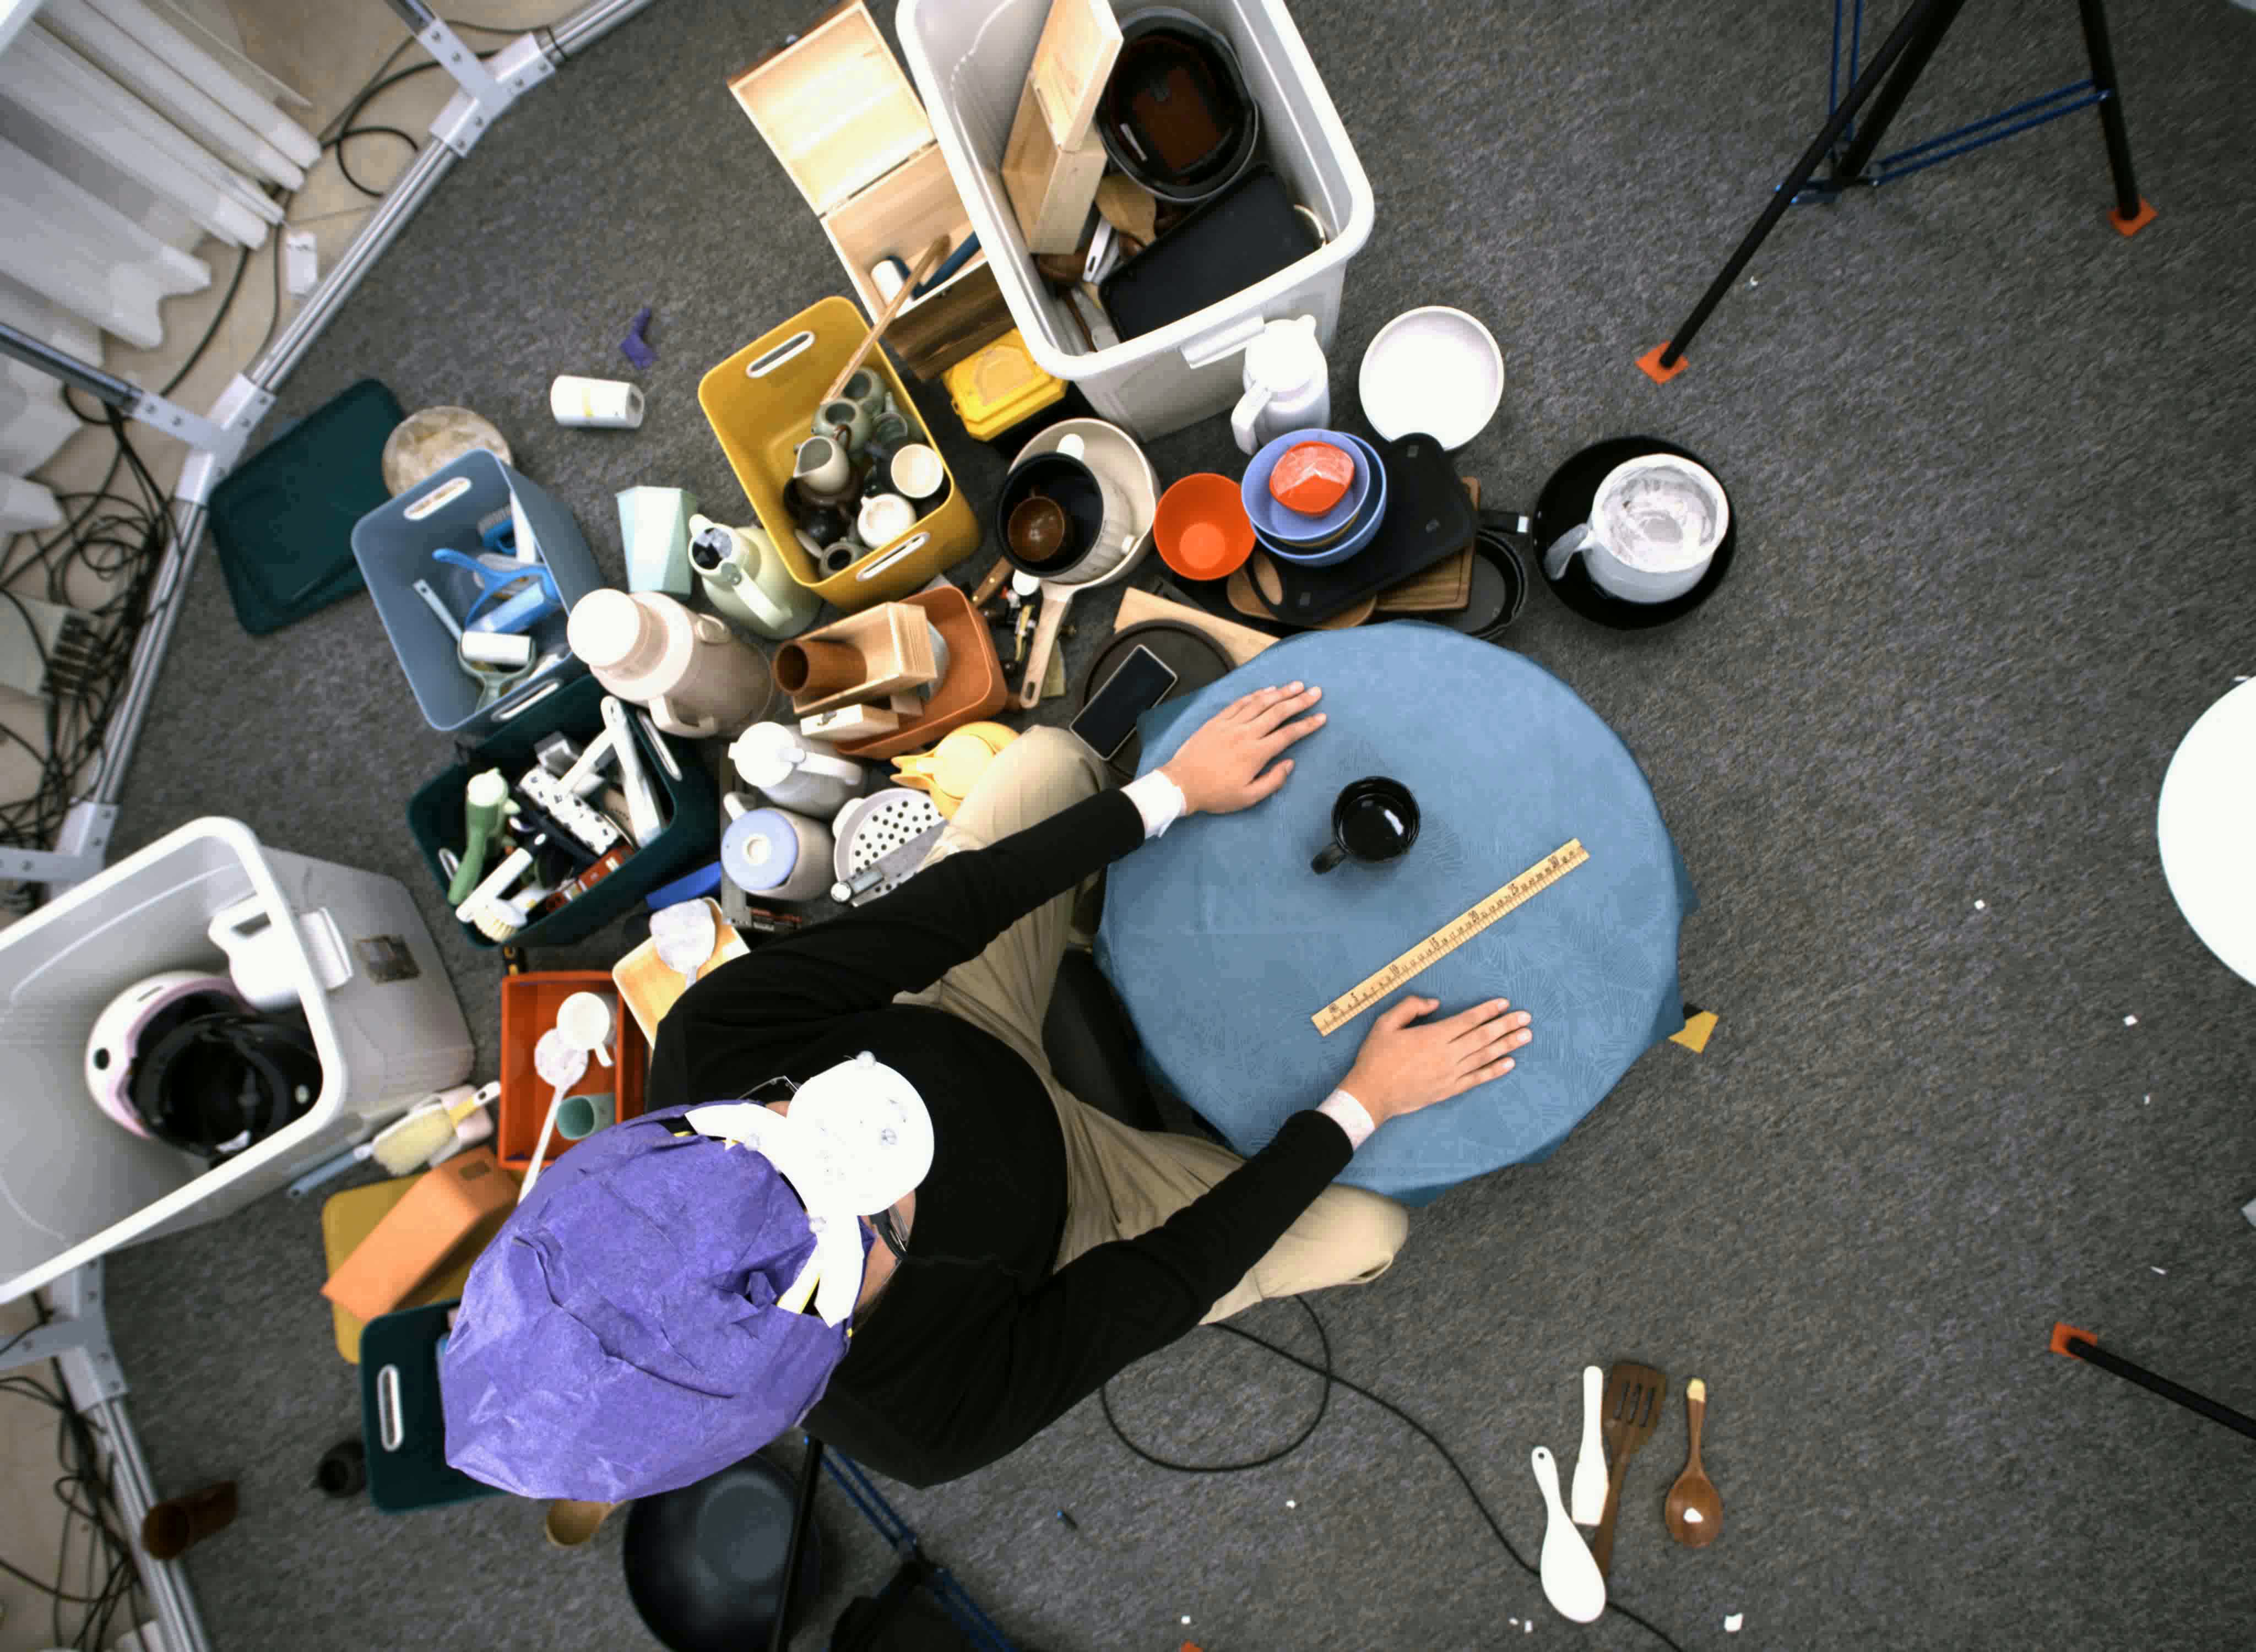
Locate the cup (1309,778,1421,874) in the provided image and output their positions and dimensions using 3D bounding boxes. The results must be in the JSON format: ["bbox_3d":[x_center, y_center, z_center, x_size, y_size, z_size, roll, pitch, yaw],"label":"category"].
[{"bbox_3d":[0.240,0.008,1.418,0.124,0.105,0.088,-35,82,6],"label":"cup"}]

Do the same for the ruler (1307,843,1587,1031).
[{"bbox_3d":[0.333,0.115,1.441,0.333,0.022,0.027,-33,76,7],"label":"ruler"}]
